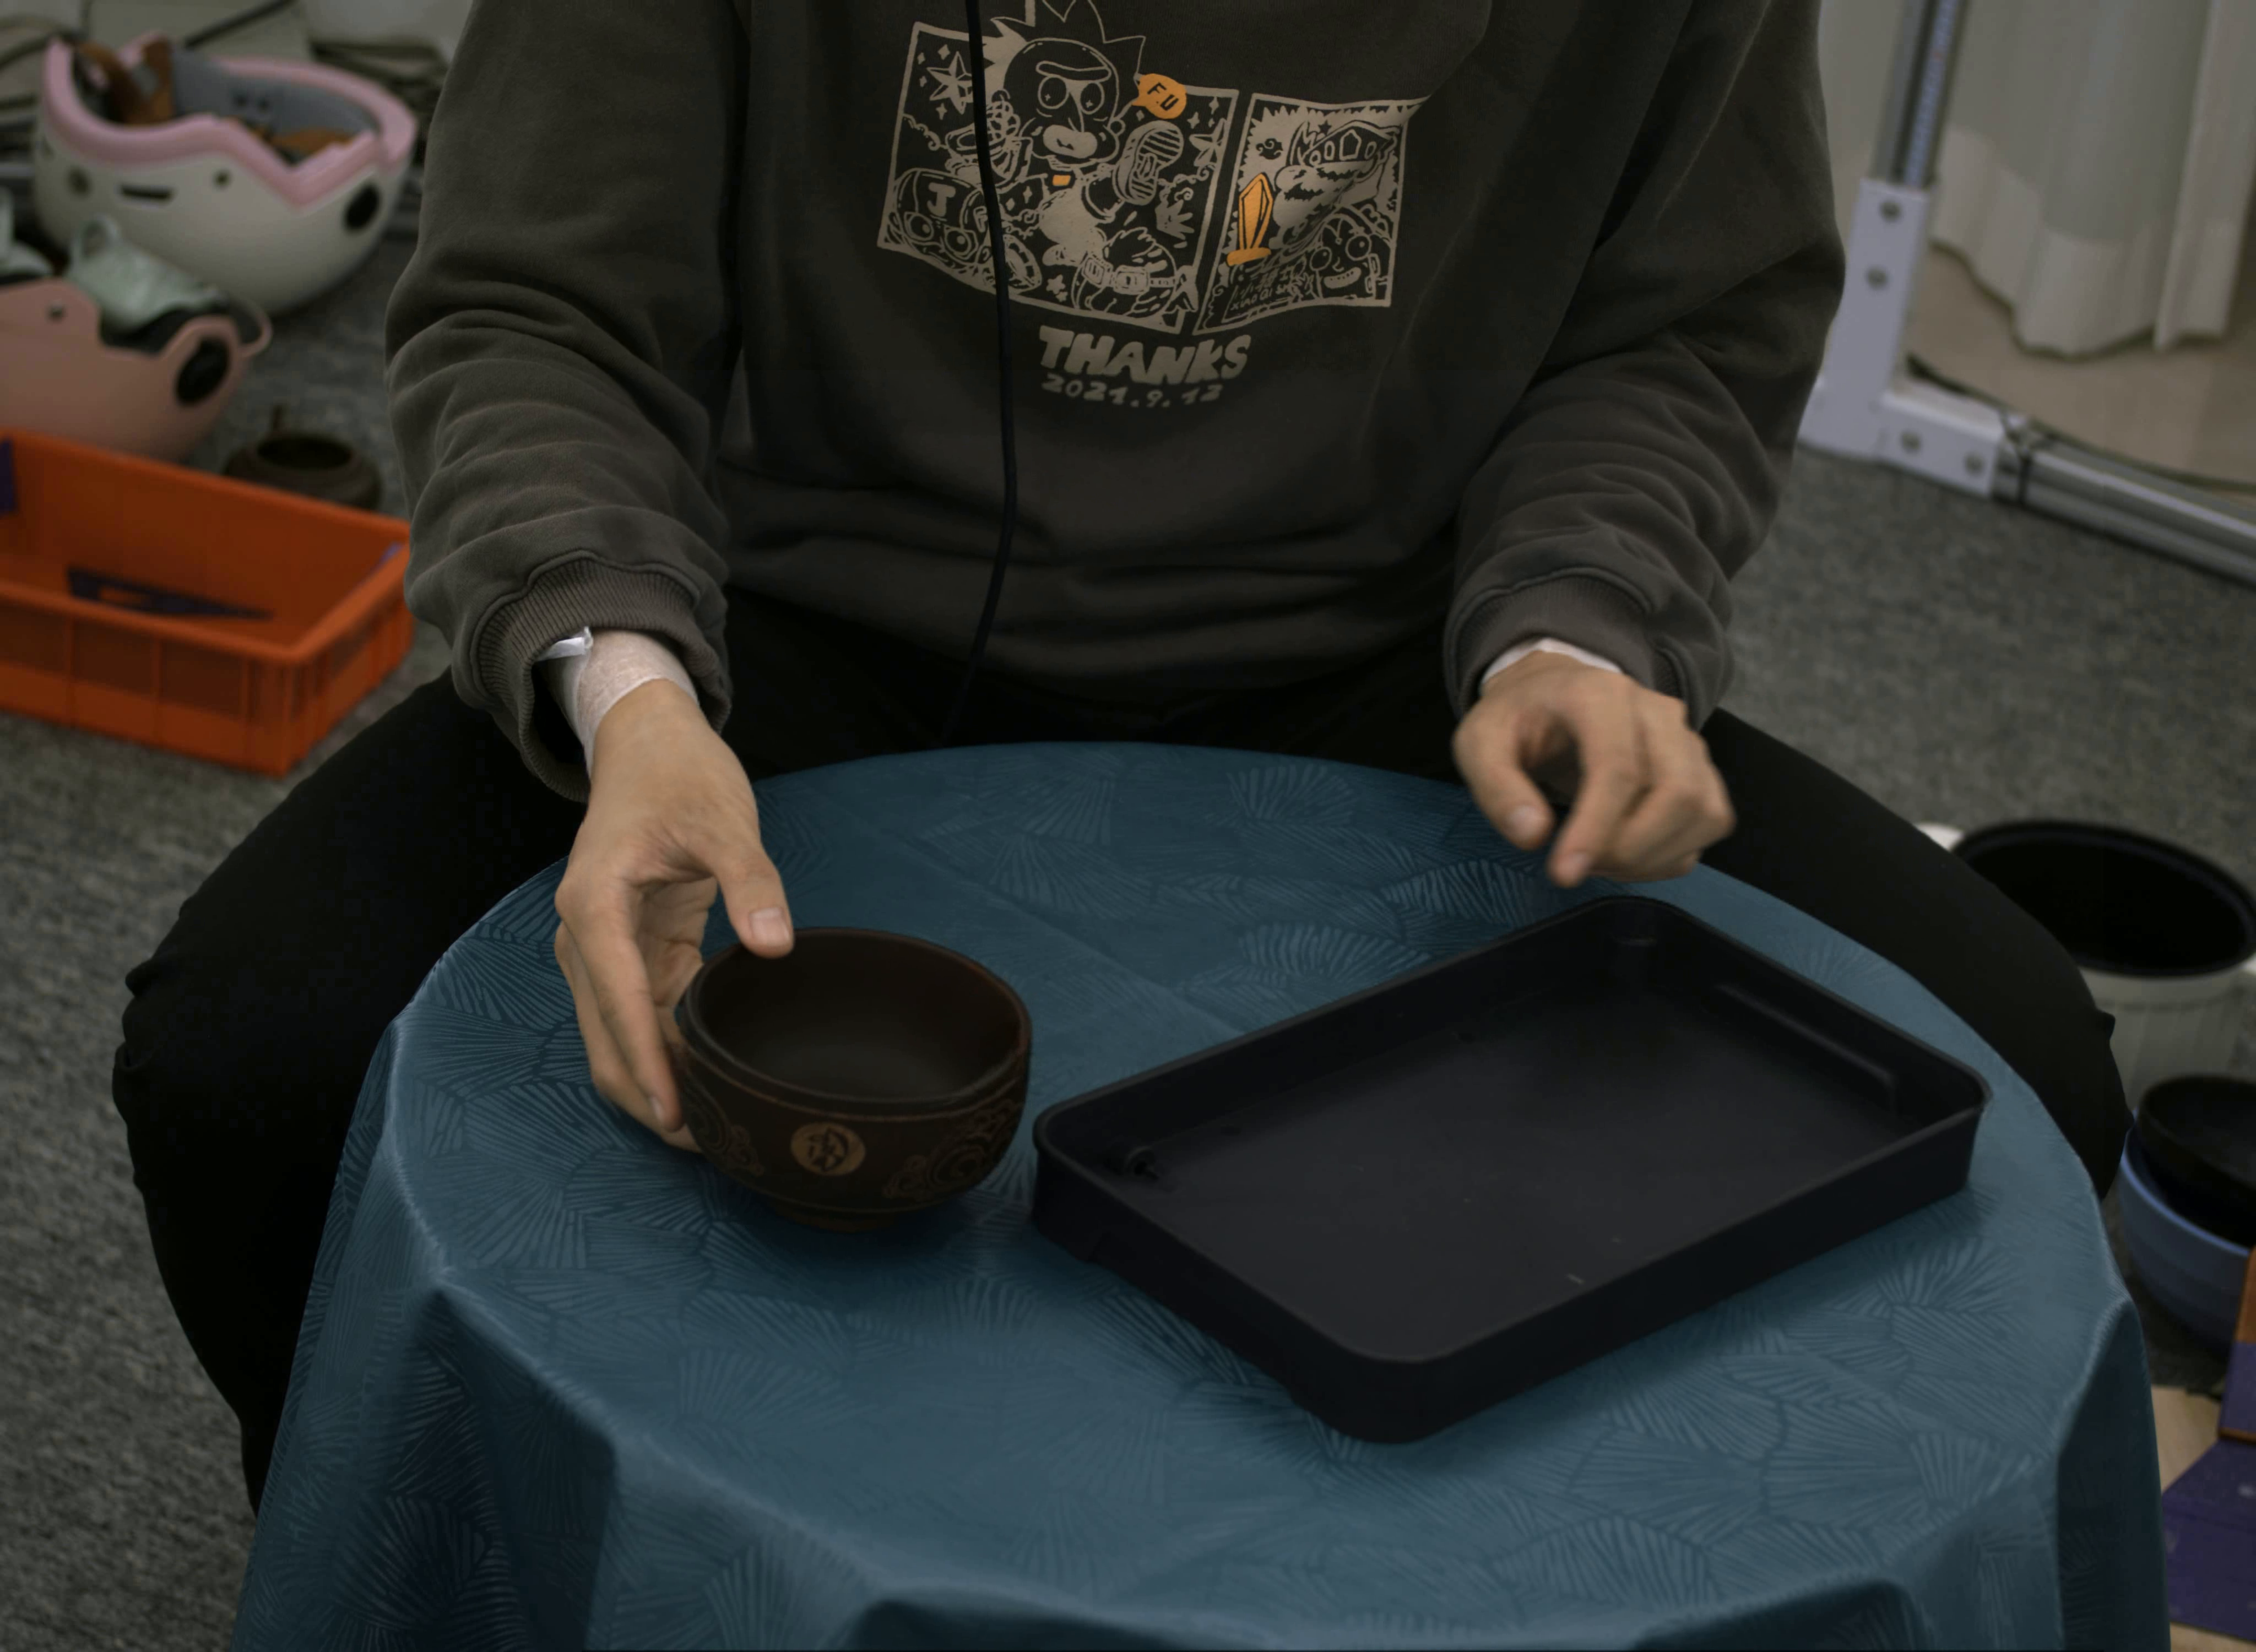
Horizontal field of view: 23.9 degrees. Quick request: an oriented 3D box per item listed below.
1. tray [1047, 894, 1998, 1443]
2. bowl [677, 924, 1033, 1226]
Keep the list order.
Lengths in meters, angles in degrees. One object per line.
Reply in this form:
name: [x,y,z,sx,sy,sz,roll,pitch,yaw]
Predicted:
tray: [0.137,0.111,1.822,0.316,0.037,0.186,-20,36,-41]
bowl: [-0.093,0.089,1.770,0.117,0.069,0.119,6,25,-3]
